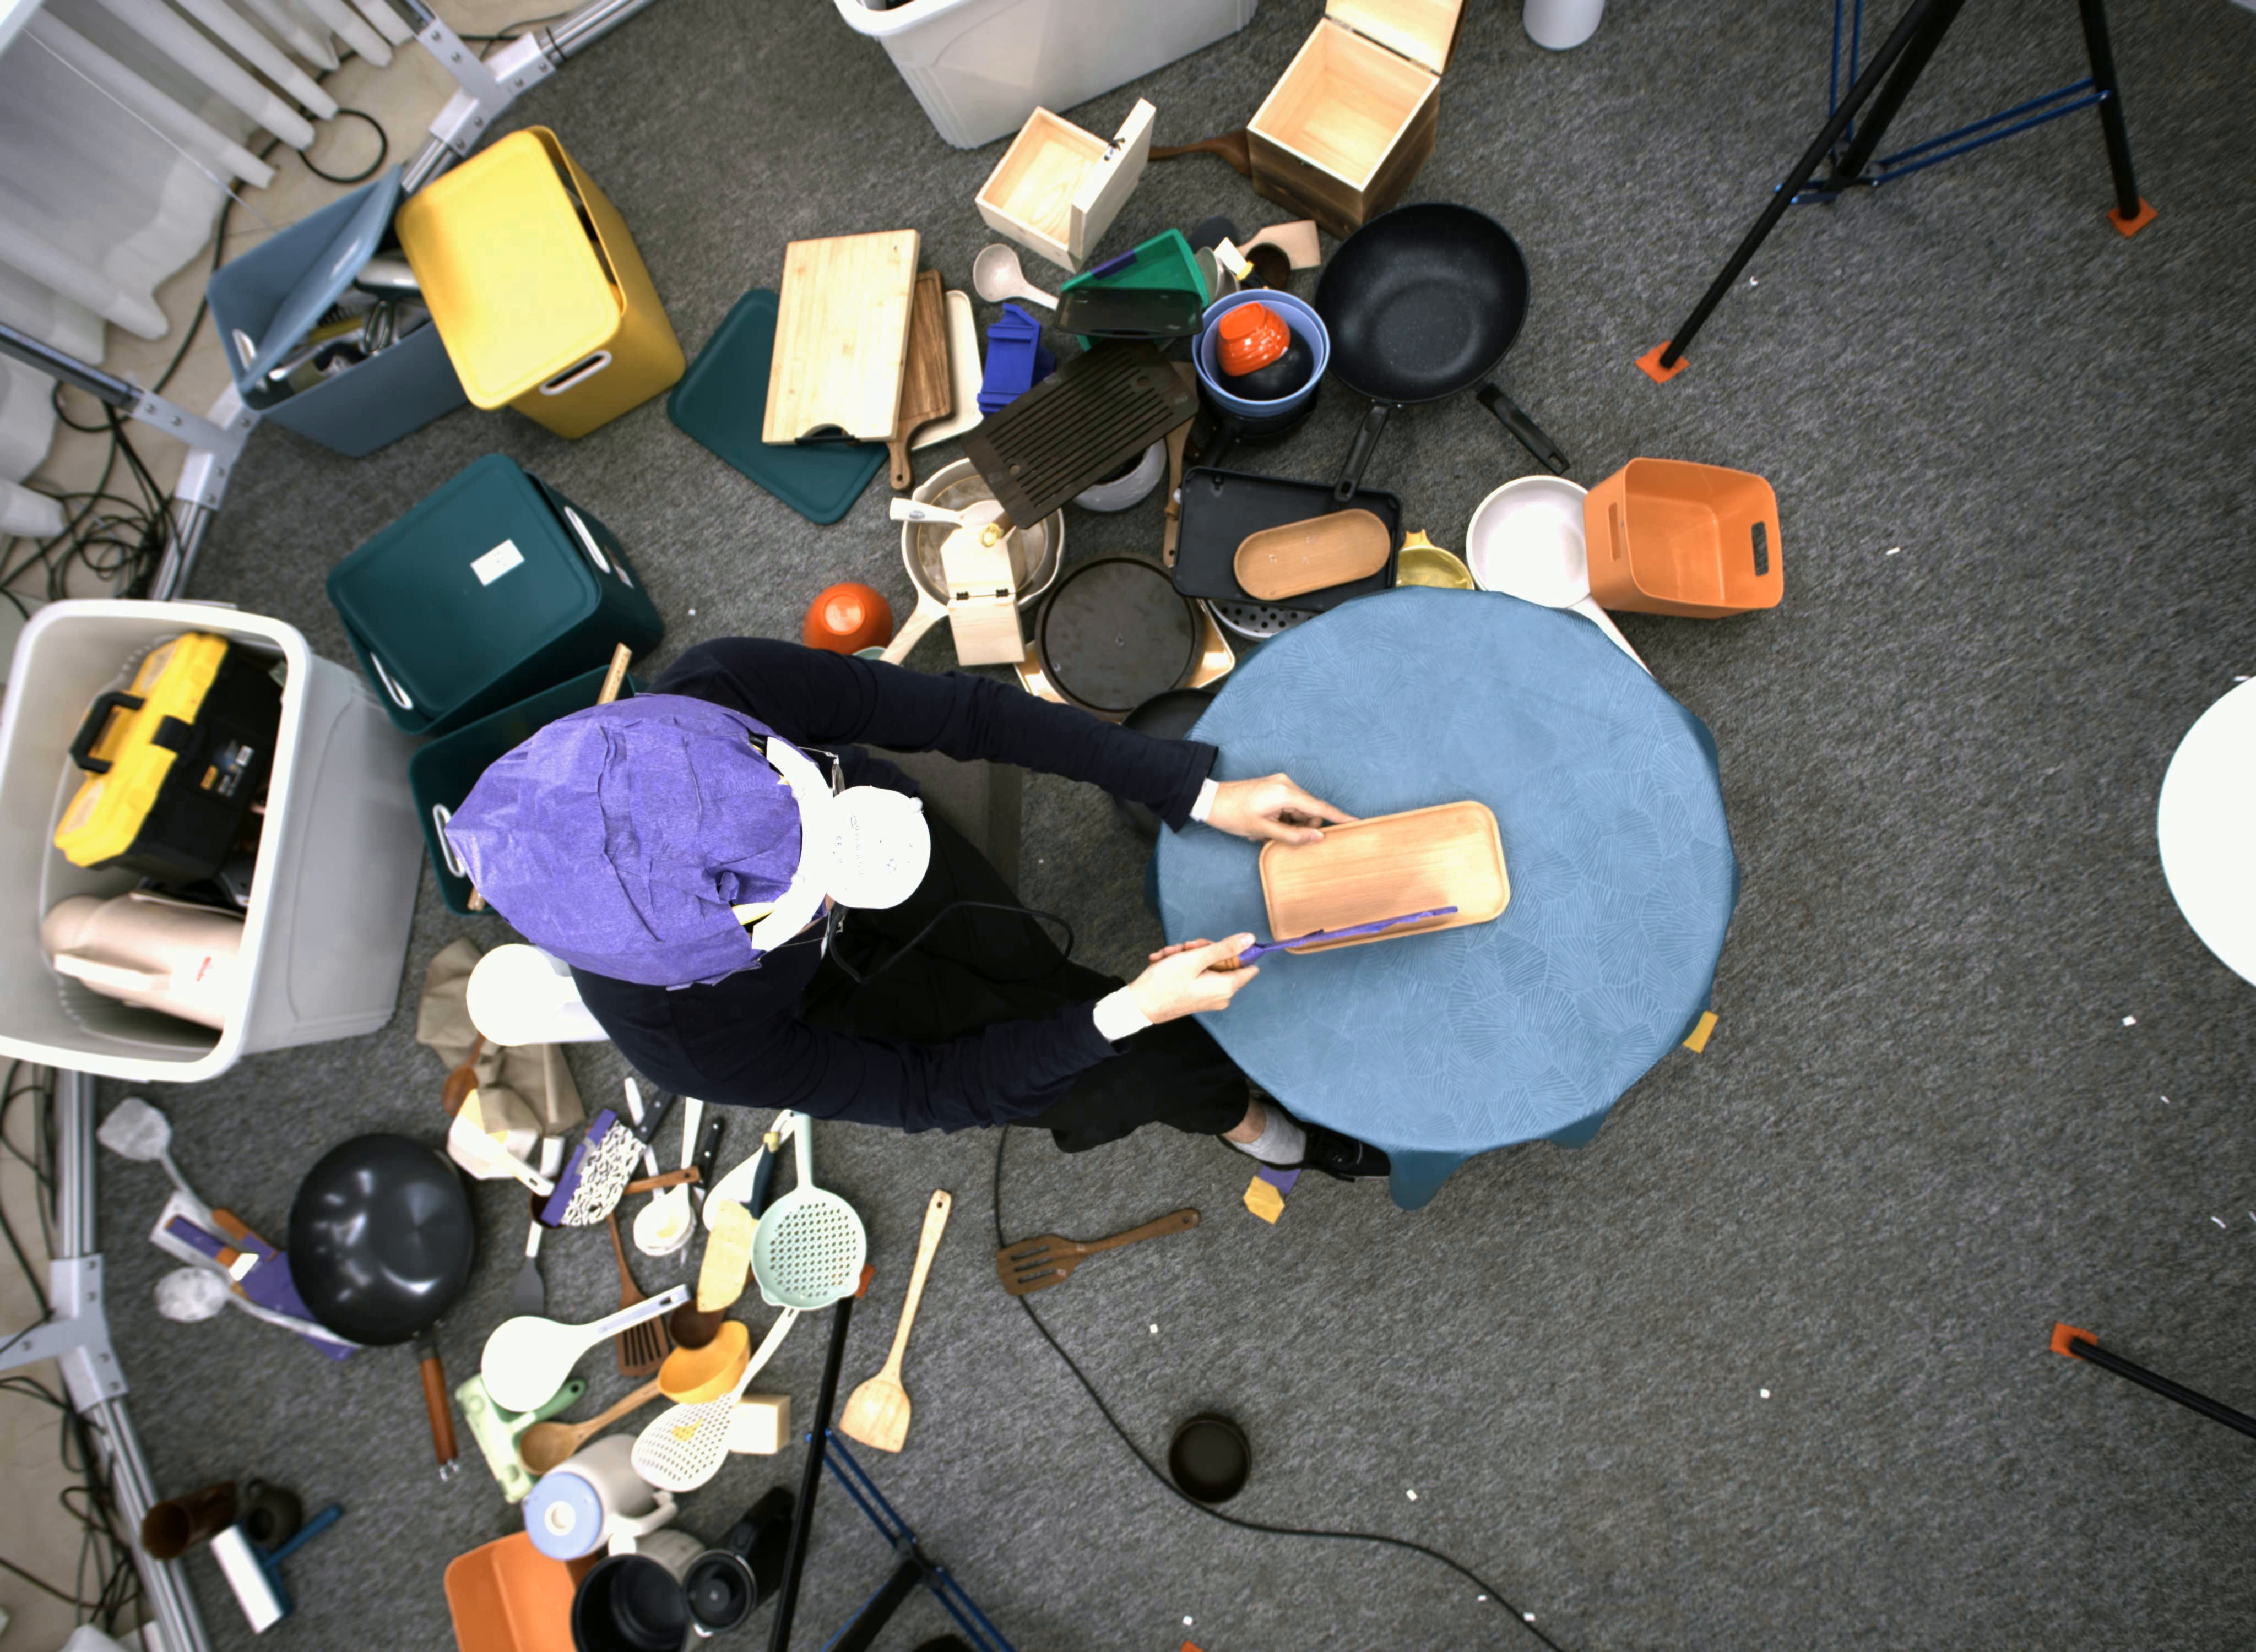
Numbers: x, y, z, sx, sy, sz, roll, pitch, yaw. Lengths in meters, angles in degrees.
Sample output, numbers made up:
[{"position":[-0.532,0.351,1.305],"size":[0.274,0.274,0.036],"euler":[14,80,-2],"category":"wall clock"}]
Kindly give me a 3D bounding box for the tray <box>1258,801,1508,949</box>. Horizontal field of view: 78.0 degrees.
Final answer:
[{"position":[0.266,0.050,1.444],"size":[0.252,0.023,0.130],"euler":[-8,90,10],"category":"tray"}]

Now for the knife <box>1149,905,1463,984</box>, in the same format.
[{"position":[0.180,0.117,1.406],"size":[0.316,0.104,0.032],"euler":[-10,86,7],"category":"knife"}]
